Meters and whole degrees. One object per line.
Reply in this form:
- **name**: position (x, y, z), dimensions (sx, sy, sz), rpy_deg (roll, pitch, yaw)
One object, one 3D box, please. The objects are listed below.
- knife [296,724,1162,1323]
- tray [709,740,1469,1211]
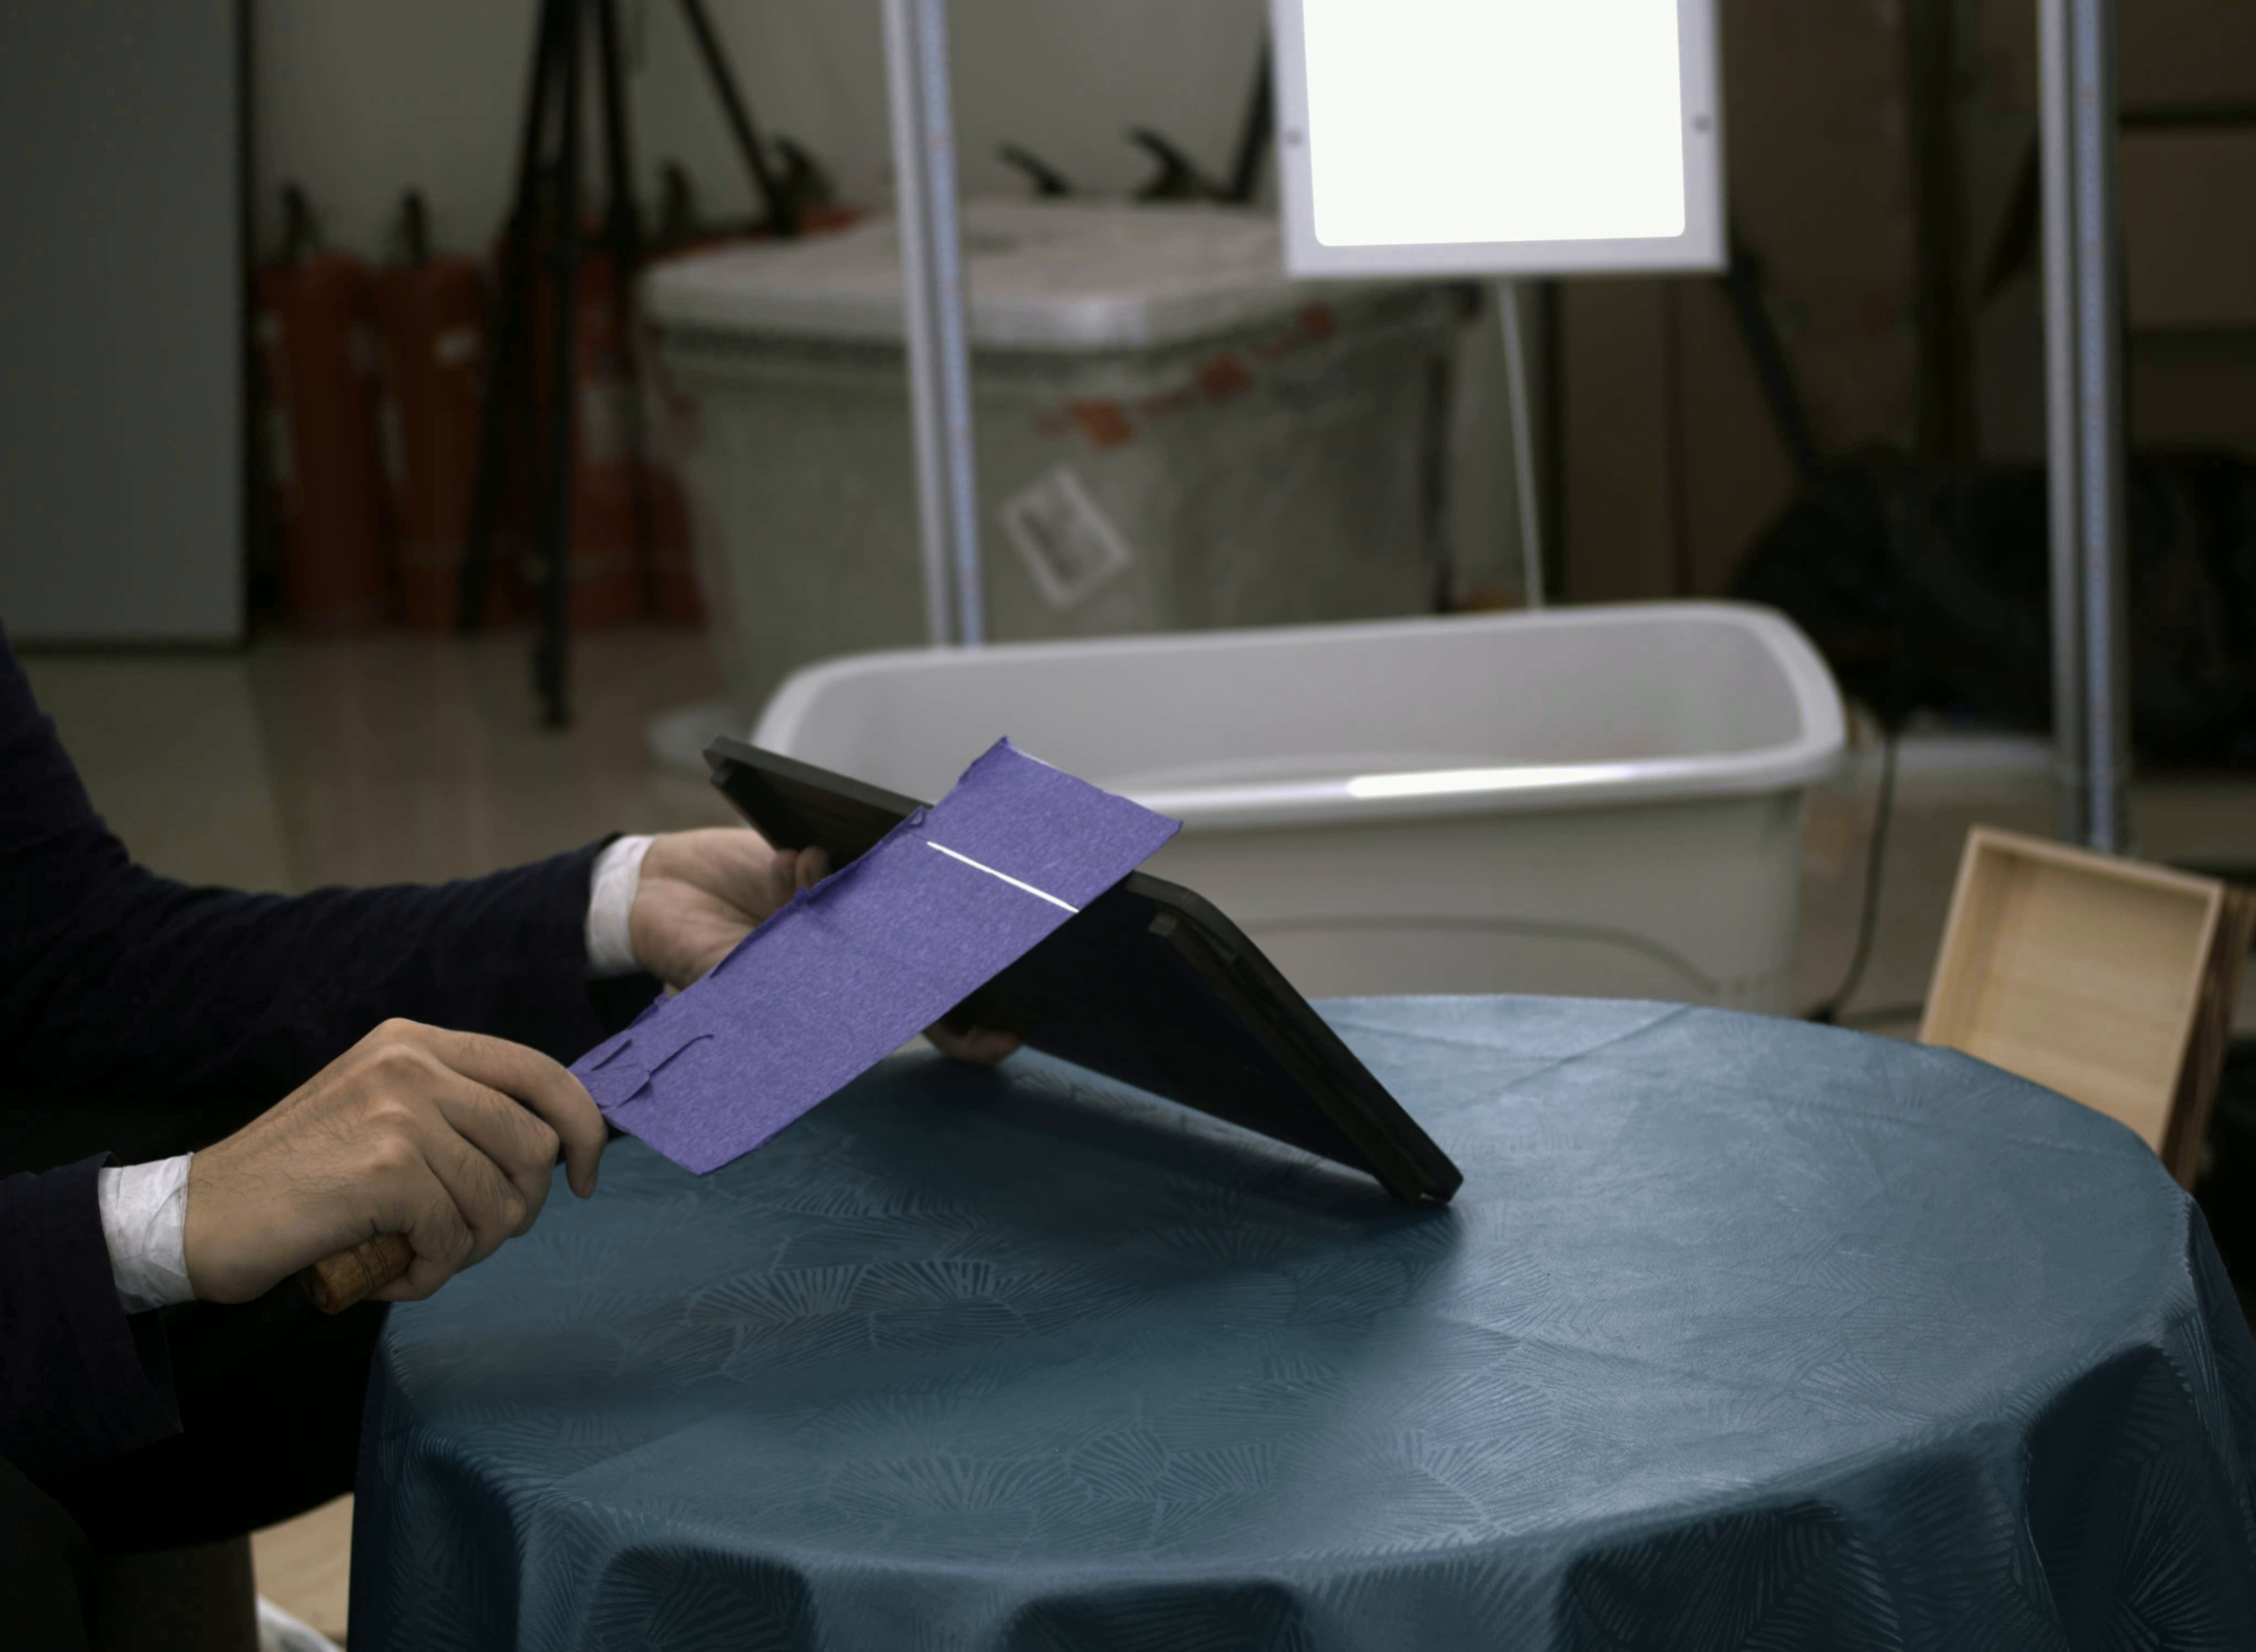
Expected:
- **knife**: position (-0.123, 0.065, 1.775), dimensions (0.310, 0.032, 0.106), rpy_deg (-39, 37, -22)
- **tray**: position (-0.021, 0.052, 1.929), dimensions (0.312, 0.168, 0.018), rpy_deg (17, 65, 52)
